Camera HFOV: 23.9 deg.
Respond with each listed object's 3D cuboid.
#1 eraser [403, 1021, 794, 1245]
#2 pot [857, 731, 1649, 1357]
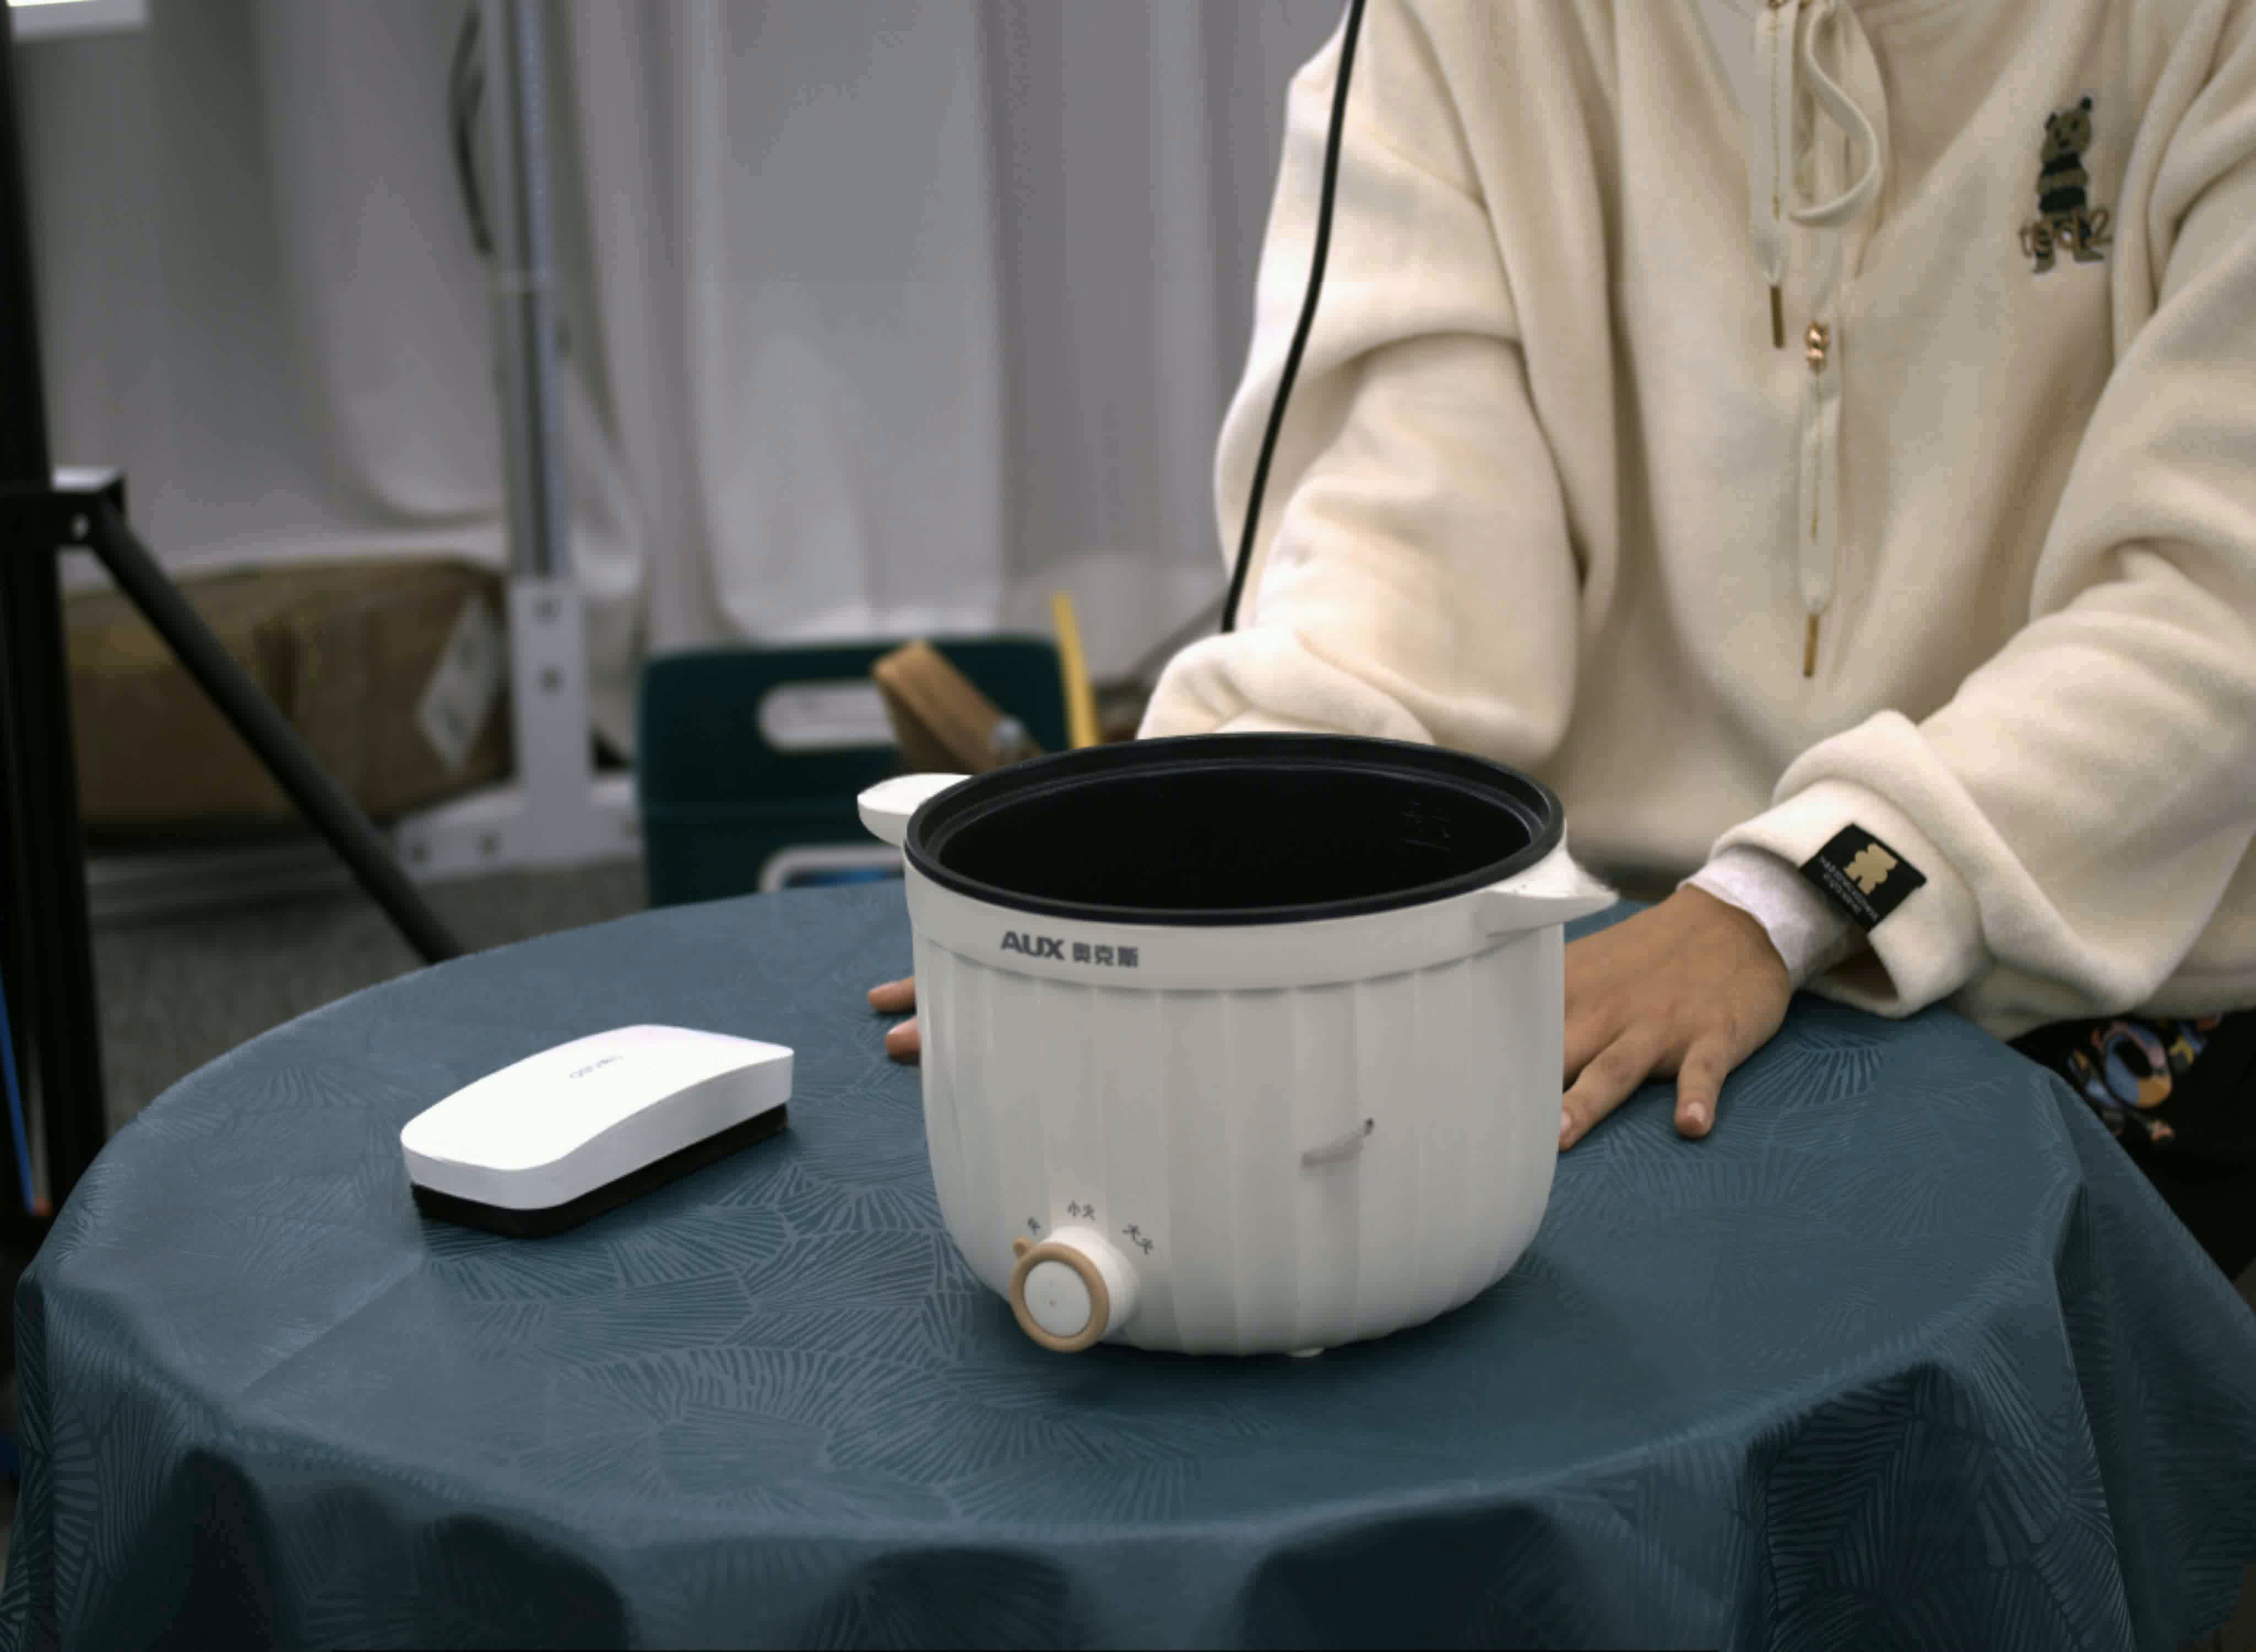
[{"bbox_3d":[-0.156,0.088,1.598,0.064,0.034,0.128,11,21,34],"label":"eraser"},{"bbox_3d":[0.030,0.062,1.457,0.245,0.143,0.187,6,14,31],"label":"pot"}]
